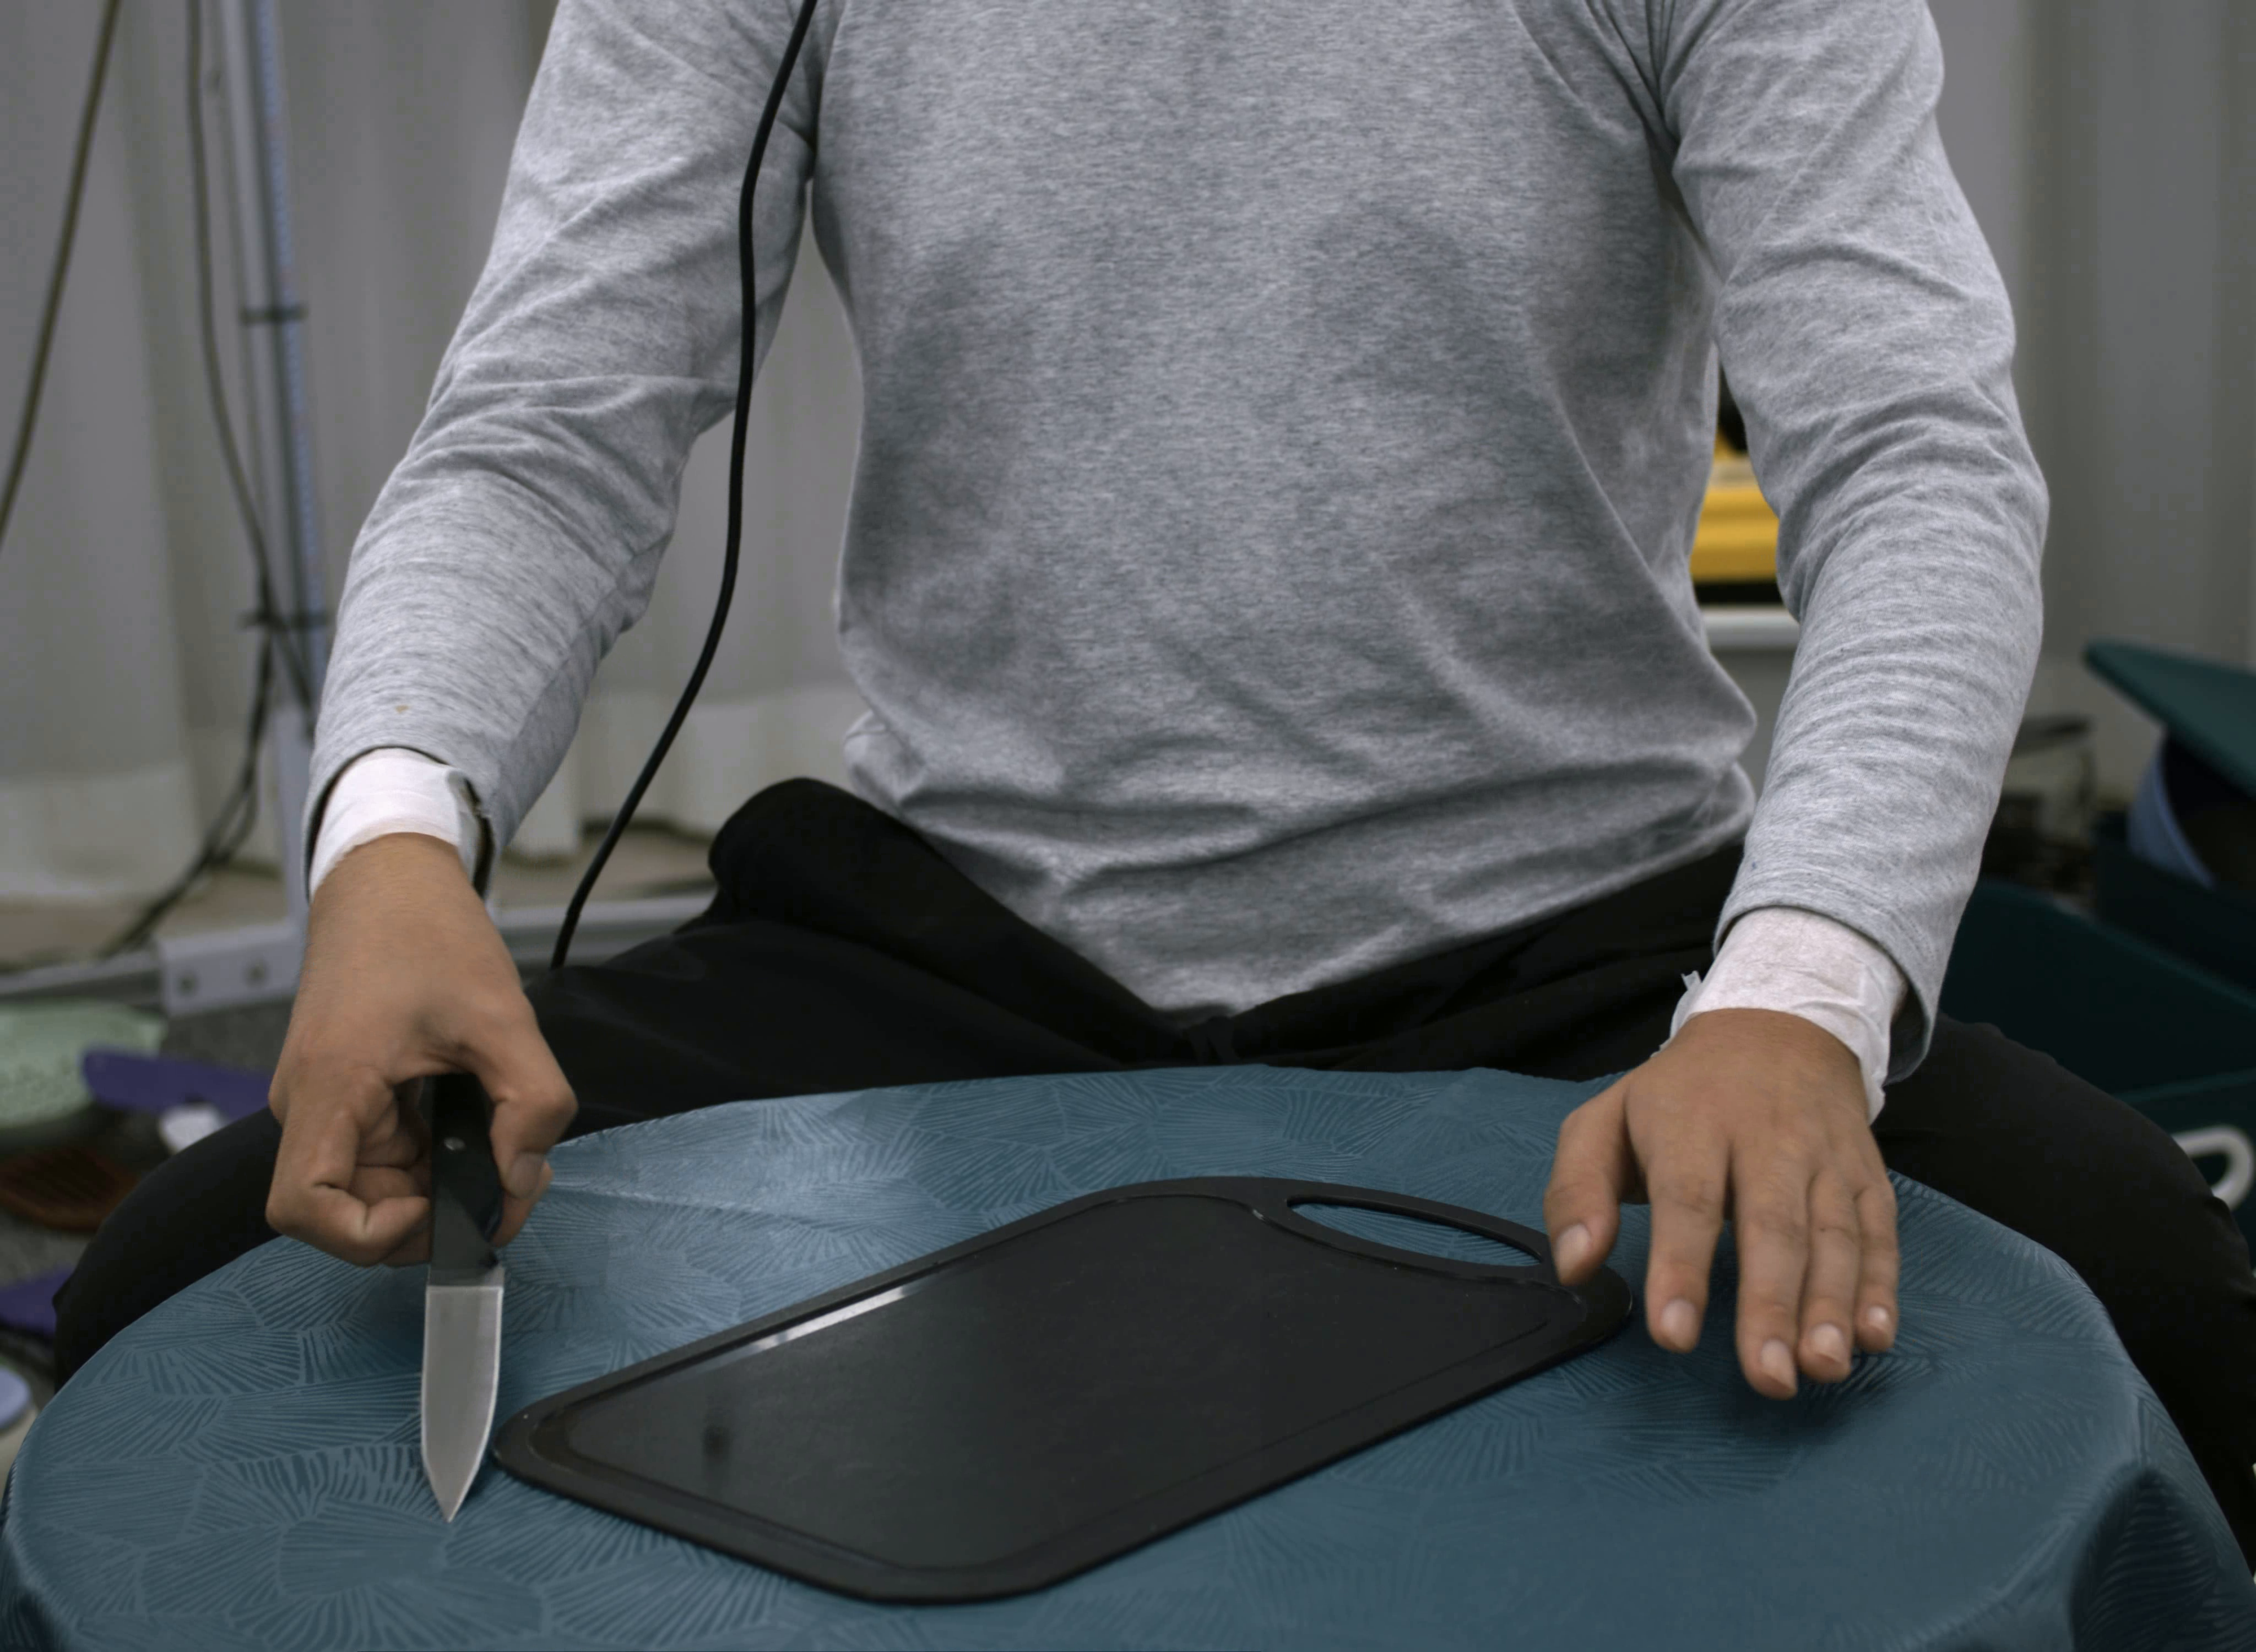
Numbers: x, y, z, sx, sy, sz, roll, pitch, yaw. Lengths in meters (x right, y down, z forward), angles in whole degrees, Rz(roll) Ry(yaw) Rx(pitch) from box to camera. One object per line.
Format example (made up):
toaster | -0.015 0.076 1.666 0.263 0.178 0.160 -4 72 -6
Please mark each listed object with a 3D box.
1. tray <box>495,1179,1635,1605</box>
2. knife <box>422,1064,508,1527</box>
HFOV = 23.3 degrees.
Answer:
tray | -0.009 0.152 1.566 0.212 0.010 0.325 12 21 44
knife | -0.192 0.134 1.580 0.024 0.016 0.241 -3 28 -4
